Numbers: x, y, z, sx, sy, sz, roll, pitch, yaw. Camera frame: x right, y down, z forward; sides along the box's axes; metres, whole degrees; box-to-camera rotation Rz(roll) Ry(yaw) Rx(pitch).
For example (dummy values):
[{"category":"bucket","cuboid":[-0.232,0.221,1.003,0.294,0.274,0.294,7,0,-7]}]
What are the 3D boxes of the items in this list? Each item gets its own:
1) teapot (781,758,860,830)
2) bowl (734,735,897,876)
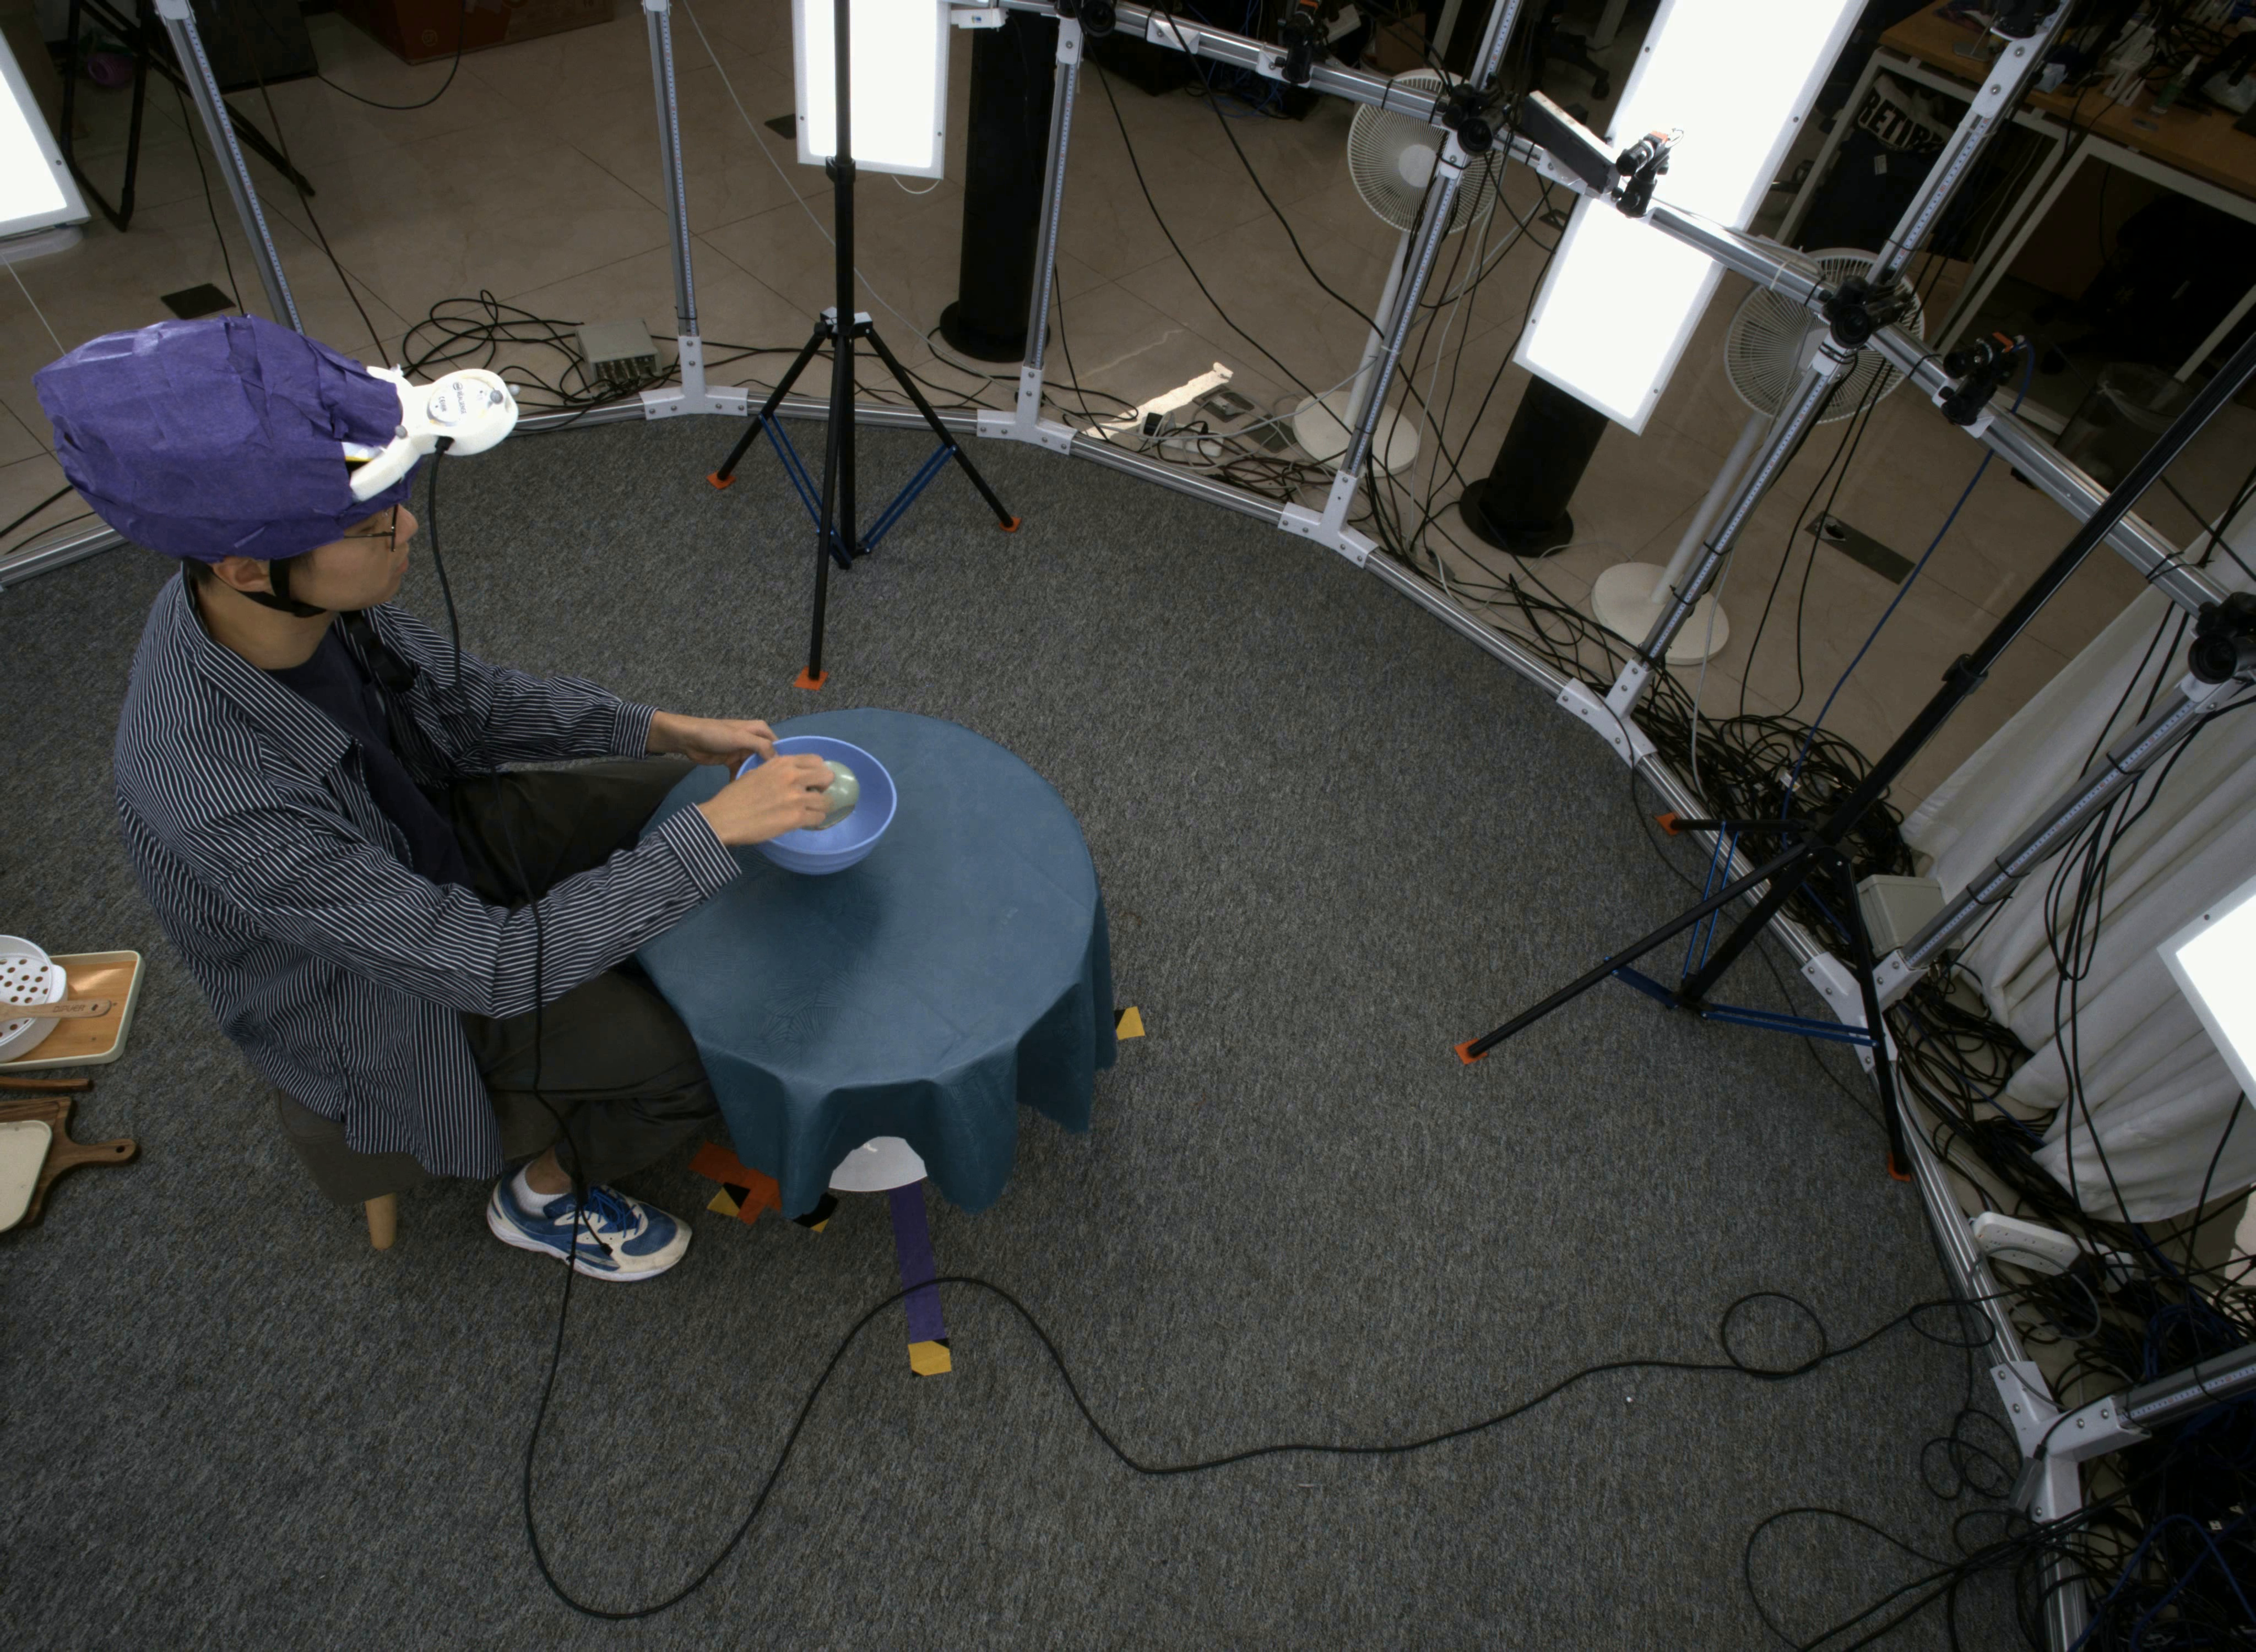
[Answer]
[{"category":"teapot","cuboid":[-0.354,-0.037,1.483,0.091,0.129,0.061,-32,84,-1]},{"category":"bowl","cuboid":[-0.392,-0.010,1.624,0.197,0.097,0.192,11,47,-11]}]
